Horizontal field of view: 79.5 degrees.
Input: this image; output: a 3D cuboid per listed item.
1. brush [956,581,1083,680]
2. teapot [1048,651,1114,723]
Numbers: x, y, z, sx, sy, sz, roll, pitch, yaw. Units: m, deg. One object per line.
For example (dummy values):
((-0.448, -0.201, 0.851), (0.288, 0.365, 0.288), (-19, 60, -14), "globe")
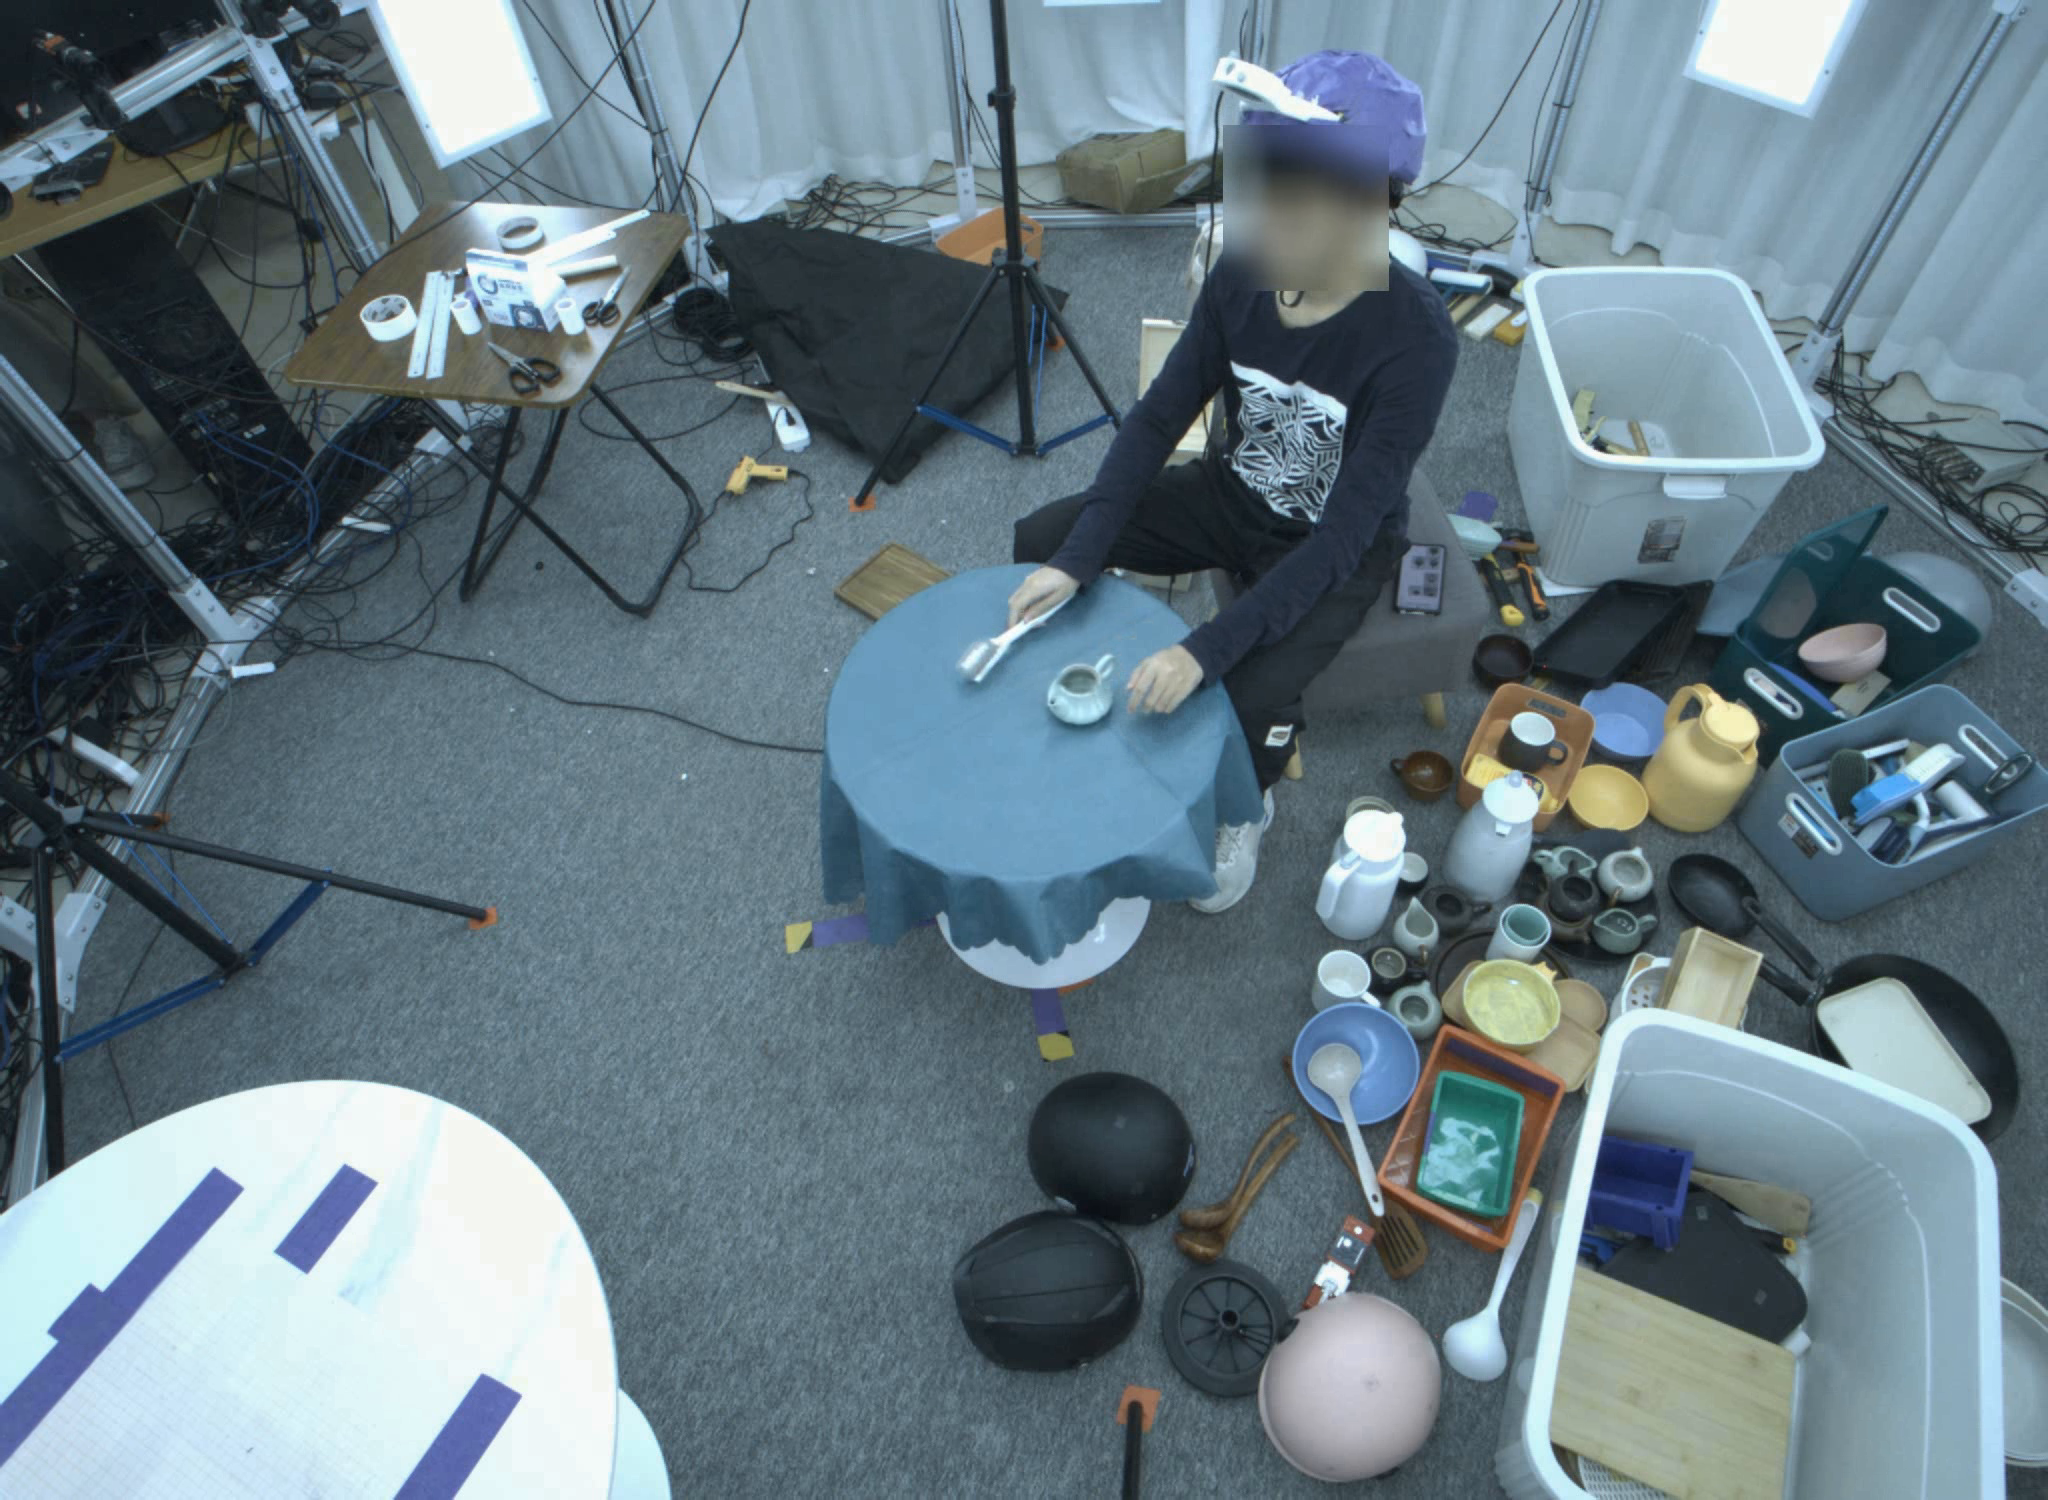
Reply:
((-0.005, -0.192, 1.871), (0.245, 0.051, 0.034), (-41, 63, -15), "brush")
((0.086, -0.090, 1.803), (0.094, 0.062, 0.138), (34, 63, 28), "teapot")
